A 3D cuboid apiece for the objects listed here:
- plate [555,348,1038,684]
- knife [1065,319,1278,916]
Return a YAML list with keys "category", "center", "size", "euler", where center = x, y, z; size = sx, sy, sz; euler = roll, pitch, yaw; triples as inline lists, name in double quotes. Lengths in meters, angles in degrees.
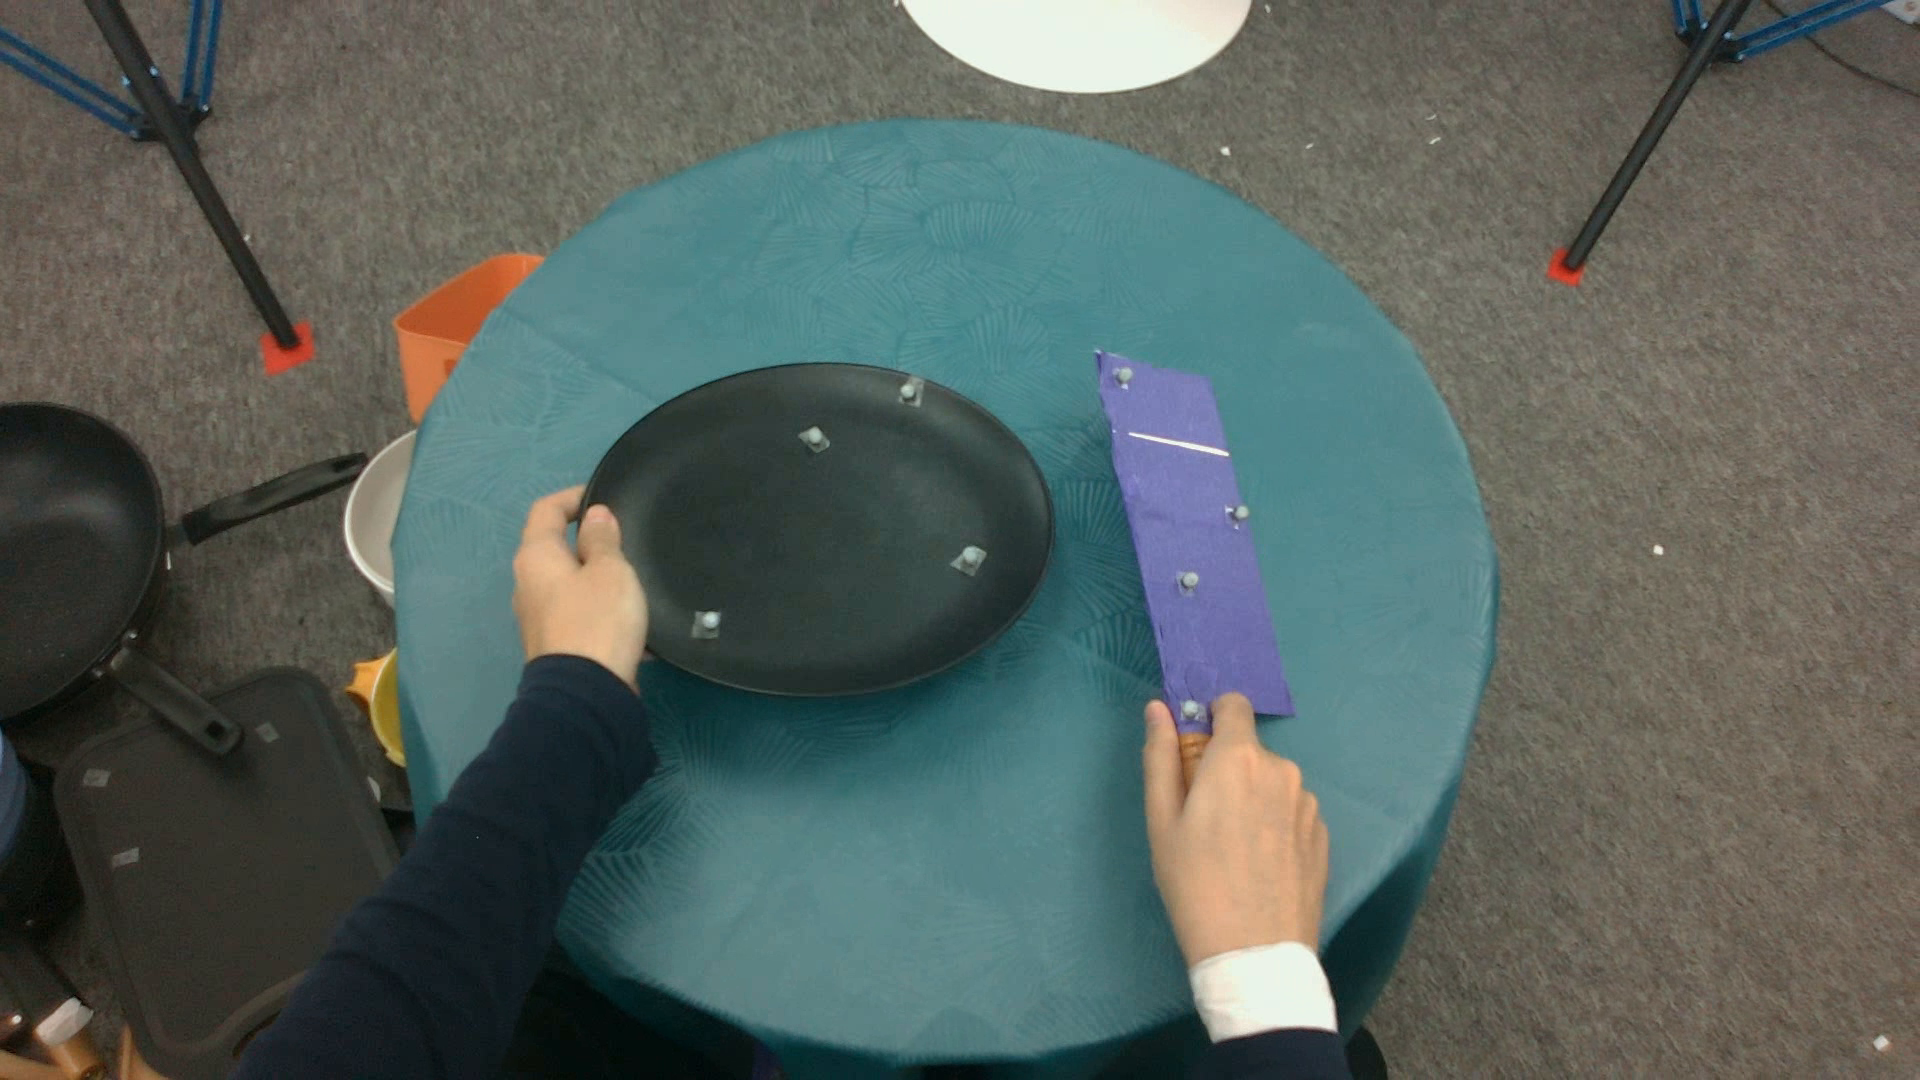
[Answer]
- category: "plate"
  center: [-0.082, -0.016, 0.712]
  size: [0.244, 0.023, 0.245]
  euler: [3, 45, -3]
- category: "knife"
  center: [0.121, 0.028, 0.702]
  size: [0.104, 0.032, 0.316]
  euler: [9, 62, -36]
